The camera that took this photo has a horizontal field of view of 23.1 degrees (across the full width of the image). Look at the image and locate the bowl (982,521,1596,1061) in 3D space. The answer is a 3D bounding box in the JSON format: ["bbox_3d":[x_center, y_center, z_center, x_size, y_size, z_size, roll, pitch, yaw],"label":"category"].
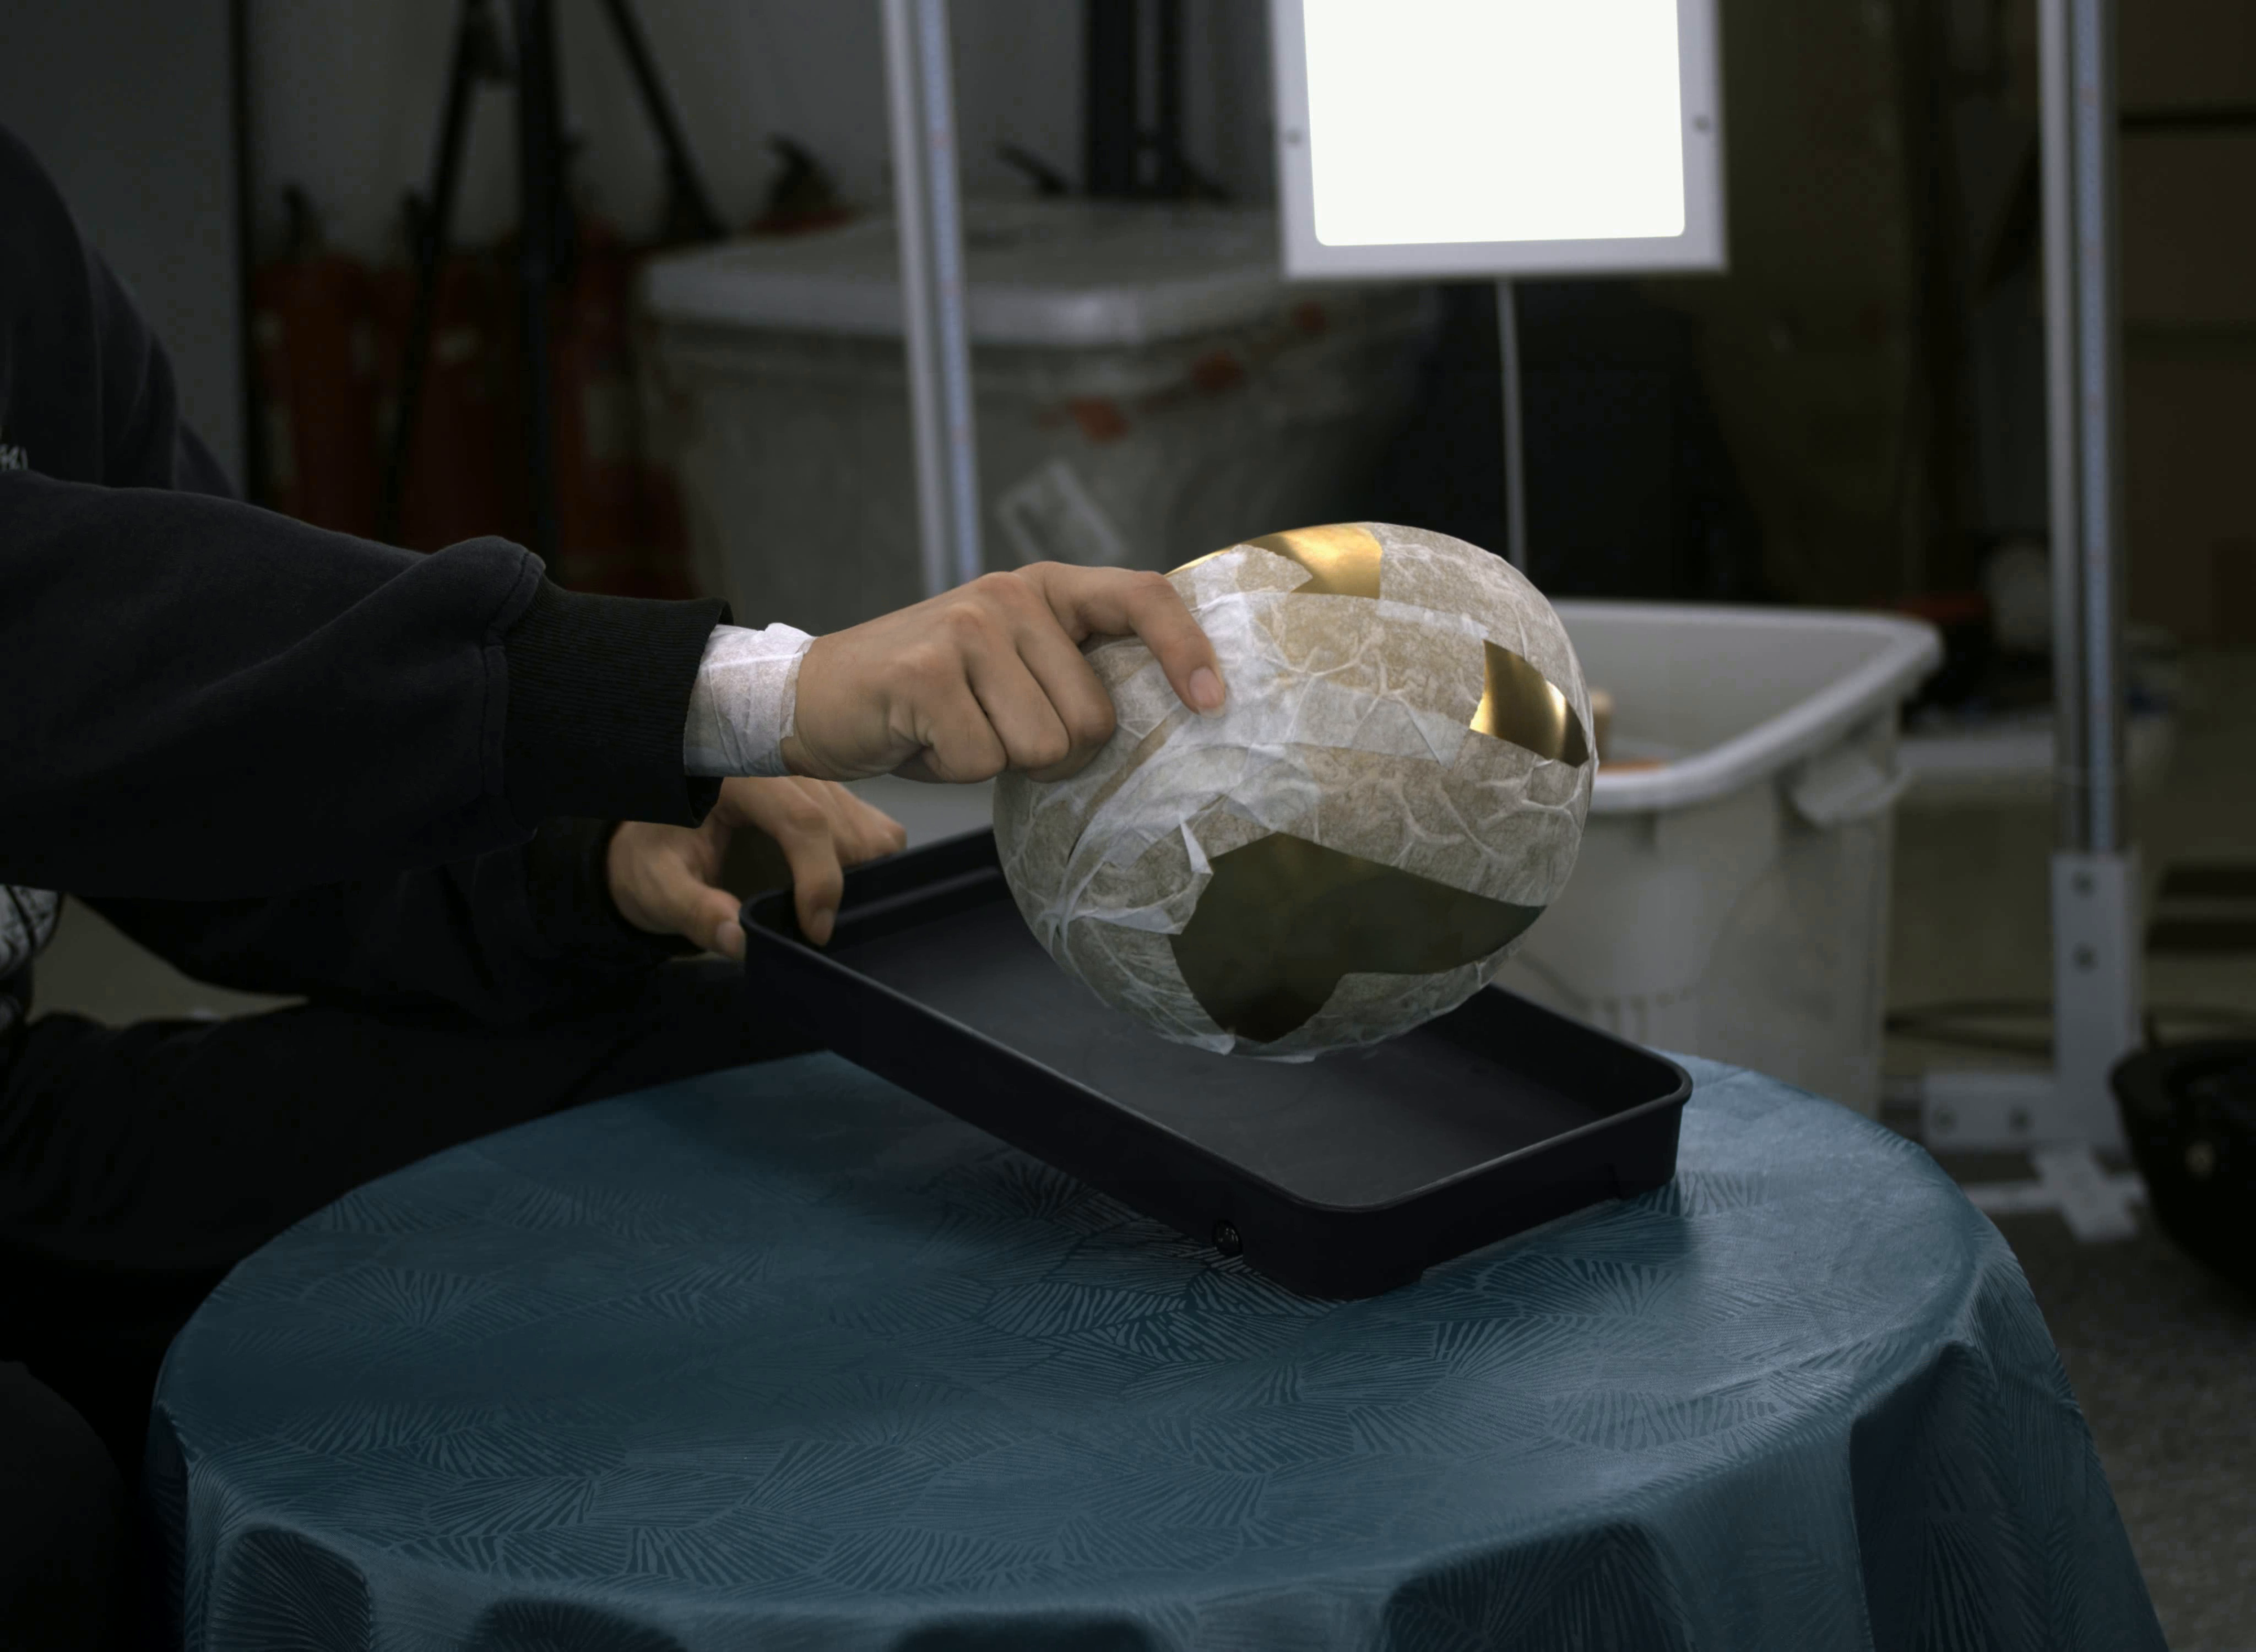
[{"bbox_3d":[0.061,0.009,1.773,0.212,0.216,0.095,-7,45,-12],"label":"bowl"}]

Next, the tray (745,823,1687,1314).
[{"bbox_3d":[0.025,0.075,1.912,0.179,0.037,0.324,-14,29,-38],"label":"tray"}]
